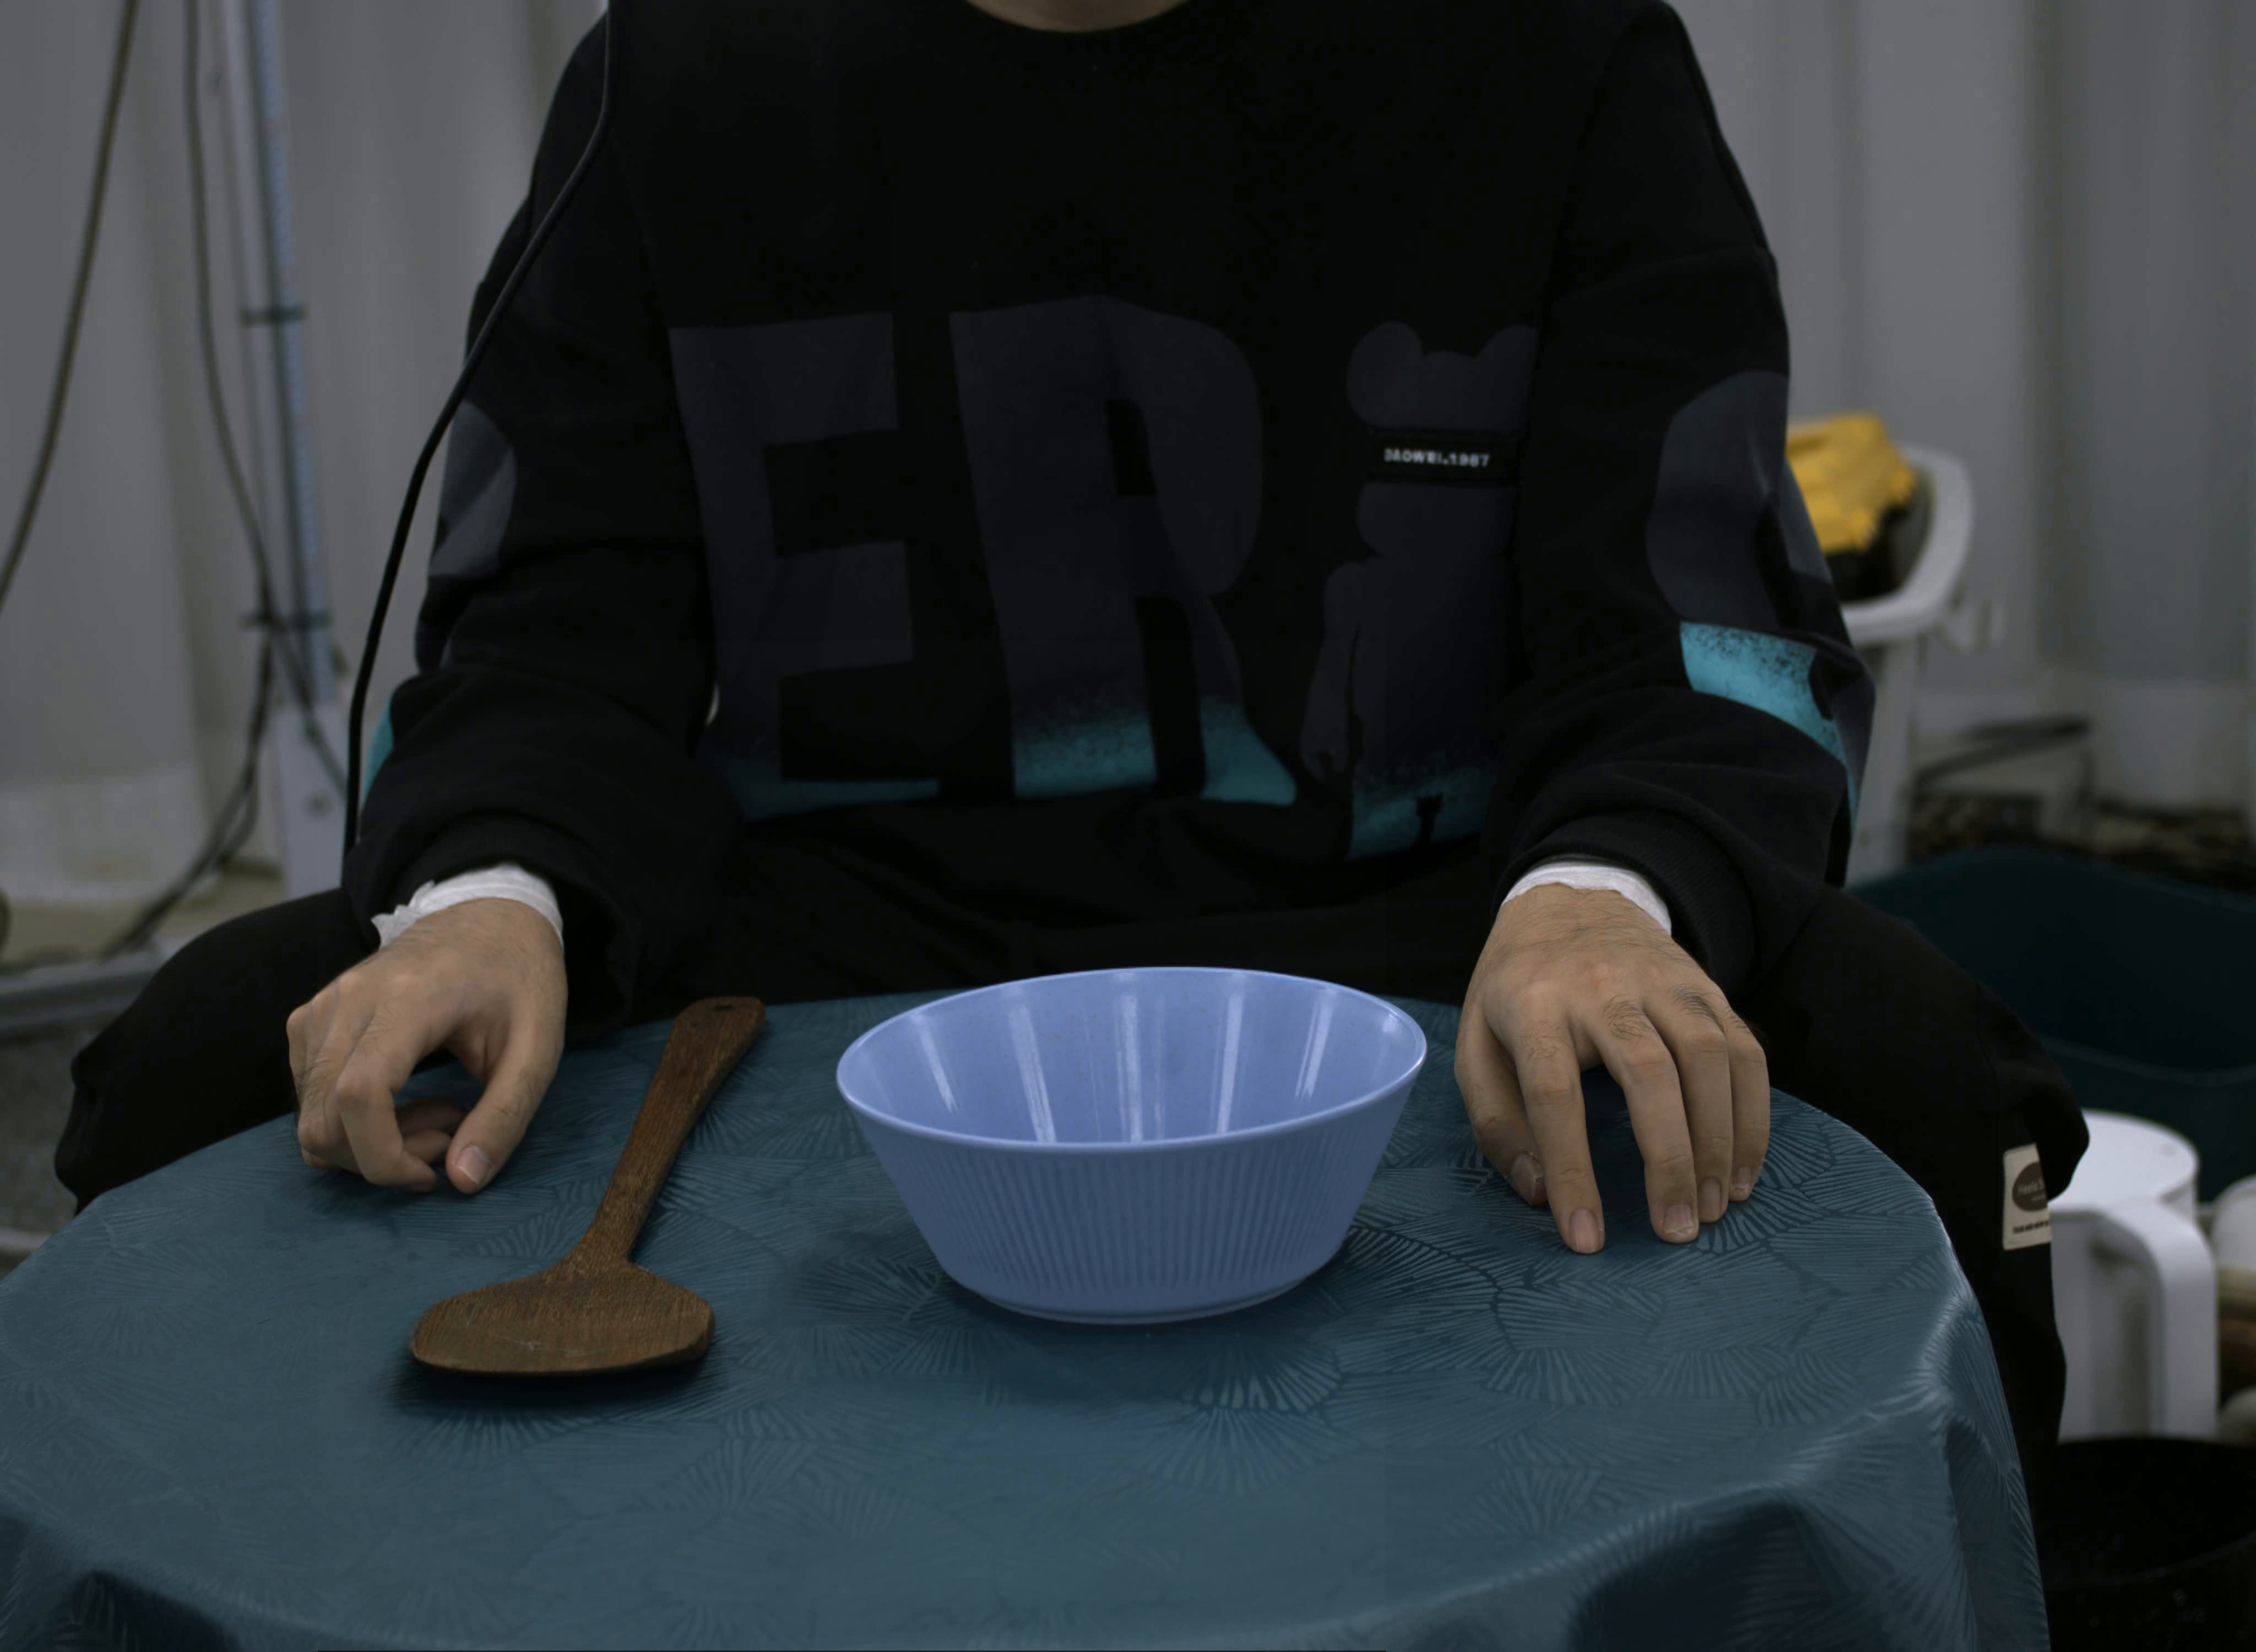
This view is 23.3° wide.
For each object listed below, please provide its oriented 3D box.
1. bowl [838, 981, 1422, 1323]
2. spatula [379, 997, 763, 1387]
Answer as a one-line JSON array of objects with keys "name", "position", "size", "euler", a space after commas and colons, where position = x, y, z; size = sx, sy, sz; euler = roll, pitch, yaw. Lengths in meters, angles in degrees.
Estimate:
[{"name": "bowl", "position": [0.002, 0.100, 1.638], "size": [0.175, 0.070, 0.177], "euler": [-2, 13, 0]}, {"name": "spatula", "position": [-0.155, 0.110, 1.736], "size": [0.096, 0.016, 0.388], "euler": [-1, 15, 5]}]
